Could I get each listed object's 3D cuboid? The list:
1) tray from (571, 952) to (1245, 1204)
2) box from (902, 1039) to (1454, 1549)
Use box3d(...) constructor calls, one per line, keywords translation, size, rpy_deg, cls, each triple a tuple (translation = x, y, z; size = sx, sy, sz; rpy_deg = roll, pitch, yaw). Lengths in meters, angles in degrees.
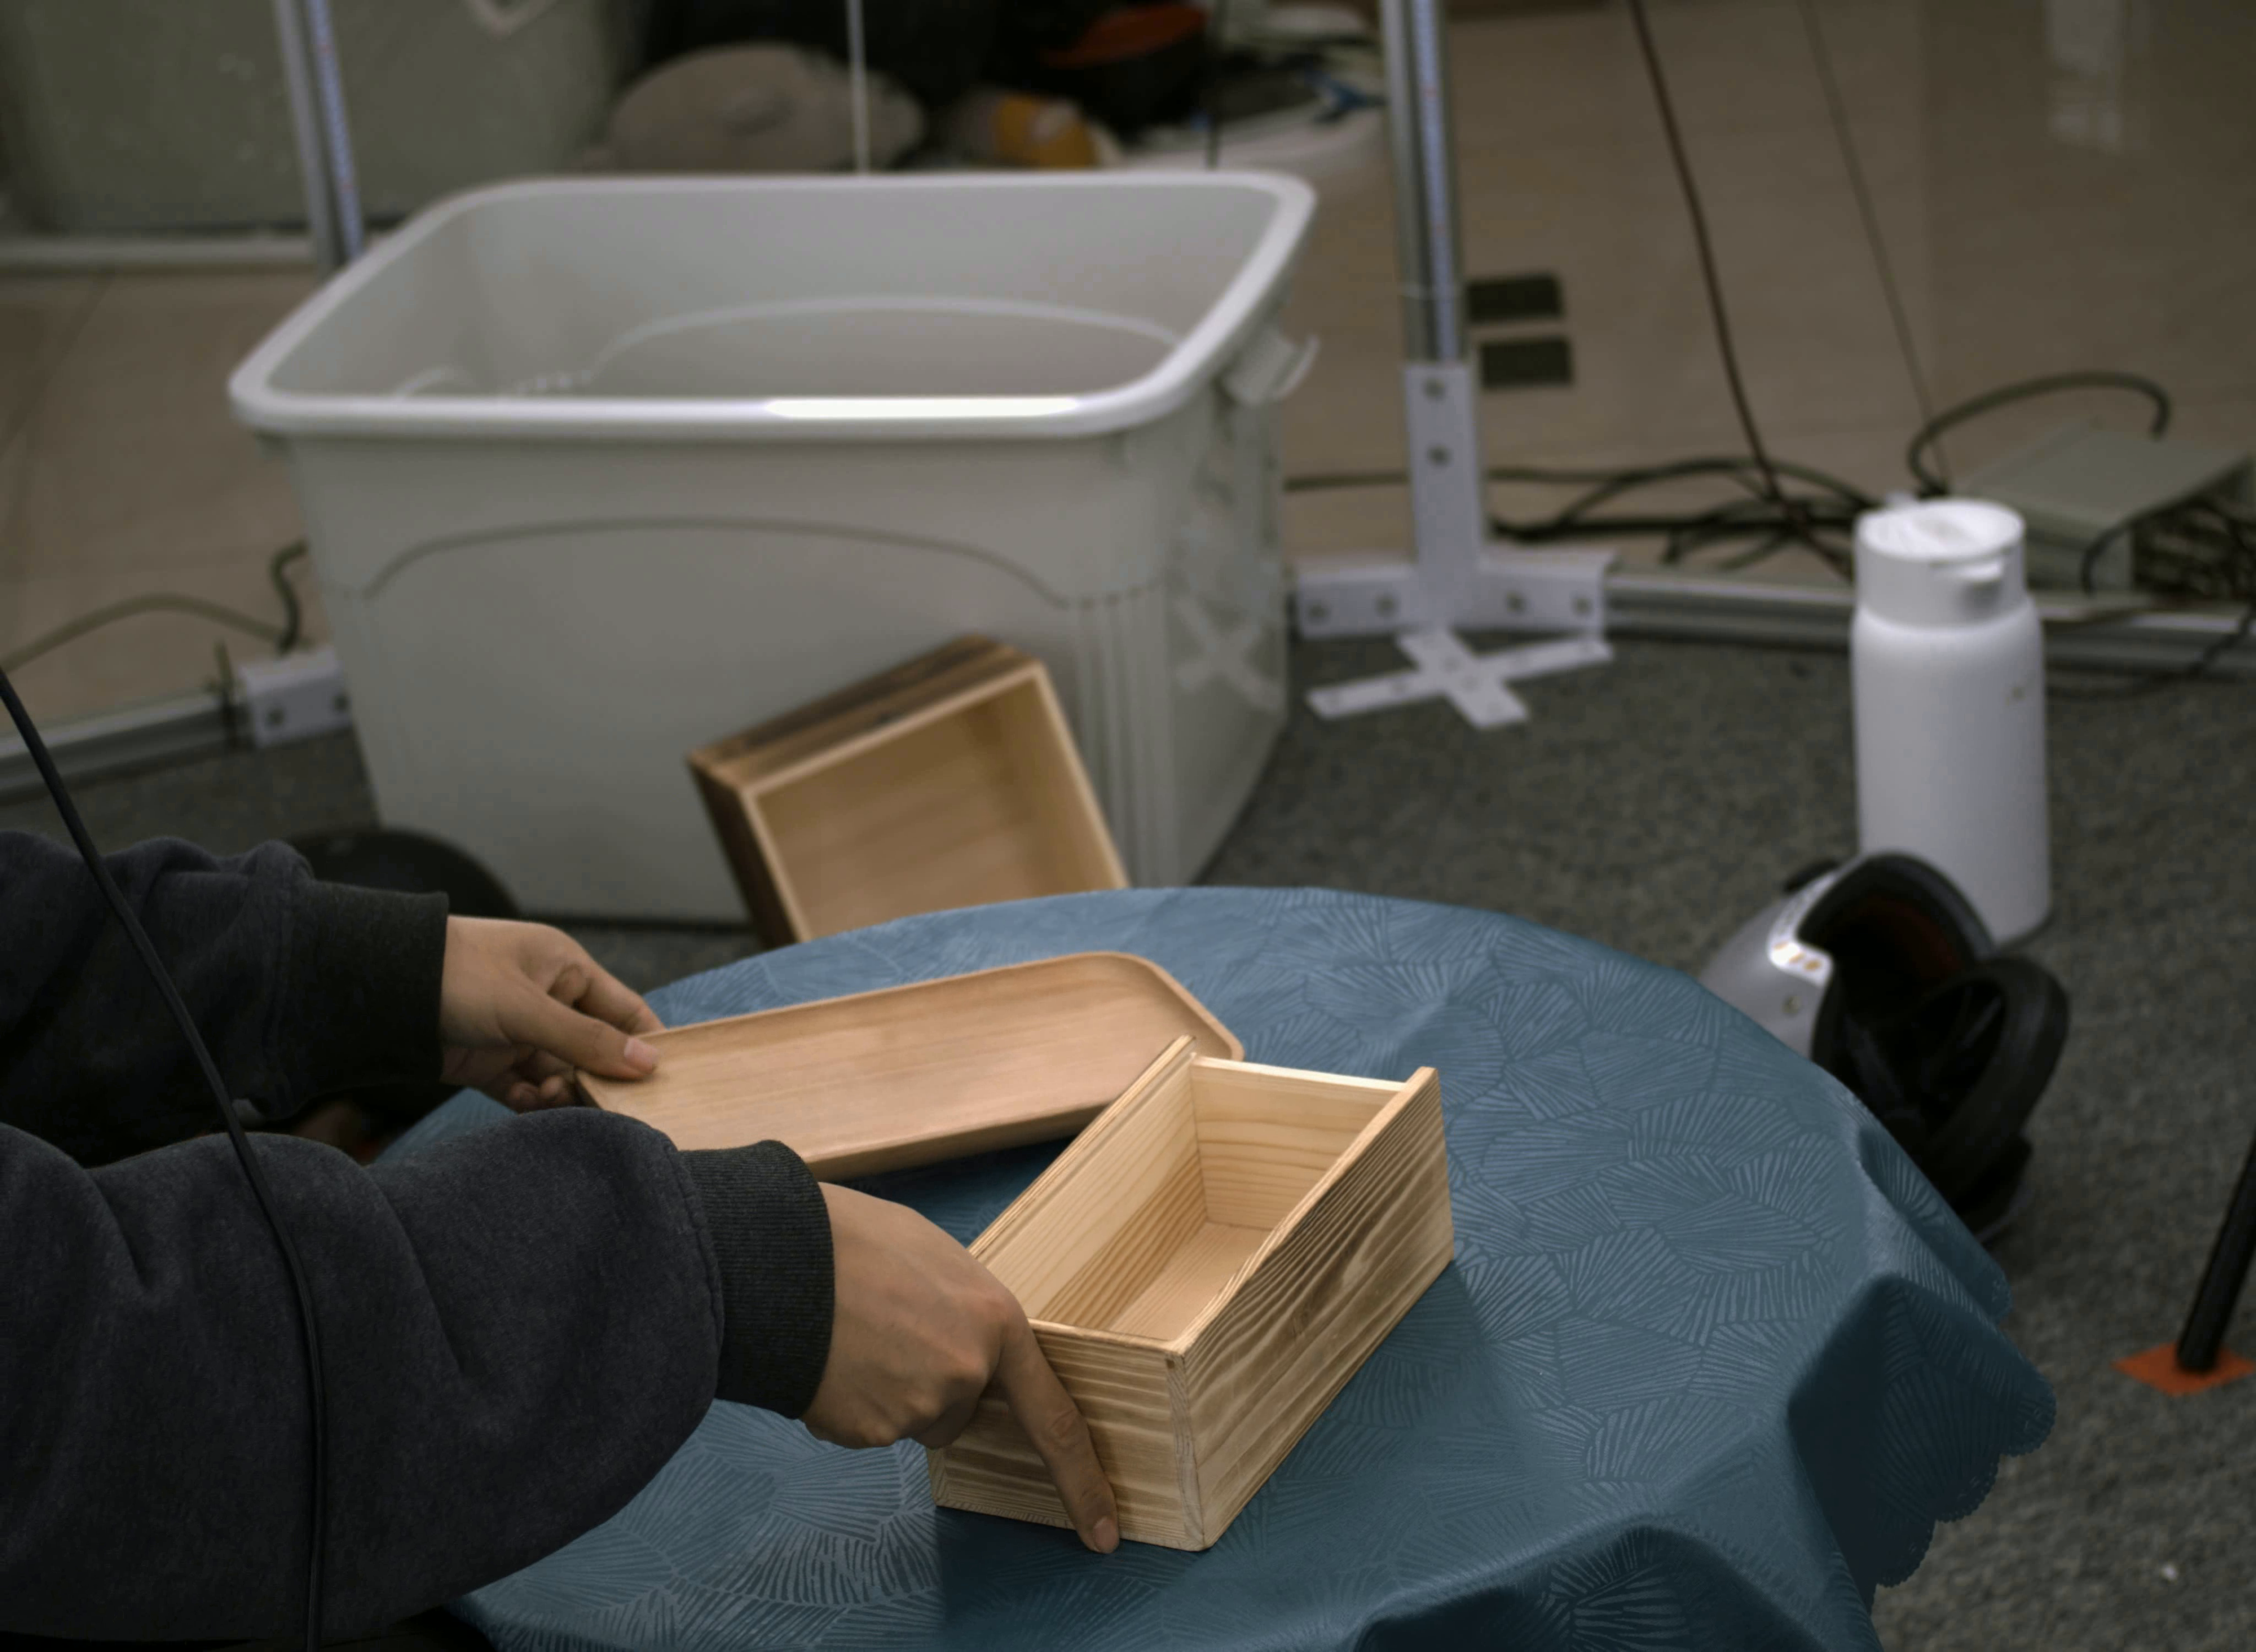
box3d(translation=(-0.085, 0.097, 2.204), size=(0.250, 0.023, 0.129), rpy_deg=(-10, 24, -22), cls="tray")
box3d(translation=(0.021, 0.161, 1.999), size=(0.107, 0.081, 0.209), rpy_deg=(7, 28, 27), cls="box")
